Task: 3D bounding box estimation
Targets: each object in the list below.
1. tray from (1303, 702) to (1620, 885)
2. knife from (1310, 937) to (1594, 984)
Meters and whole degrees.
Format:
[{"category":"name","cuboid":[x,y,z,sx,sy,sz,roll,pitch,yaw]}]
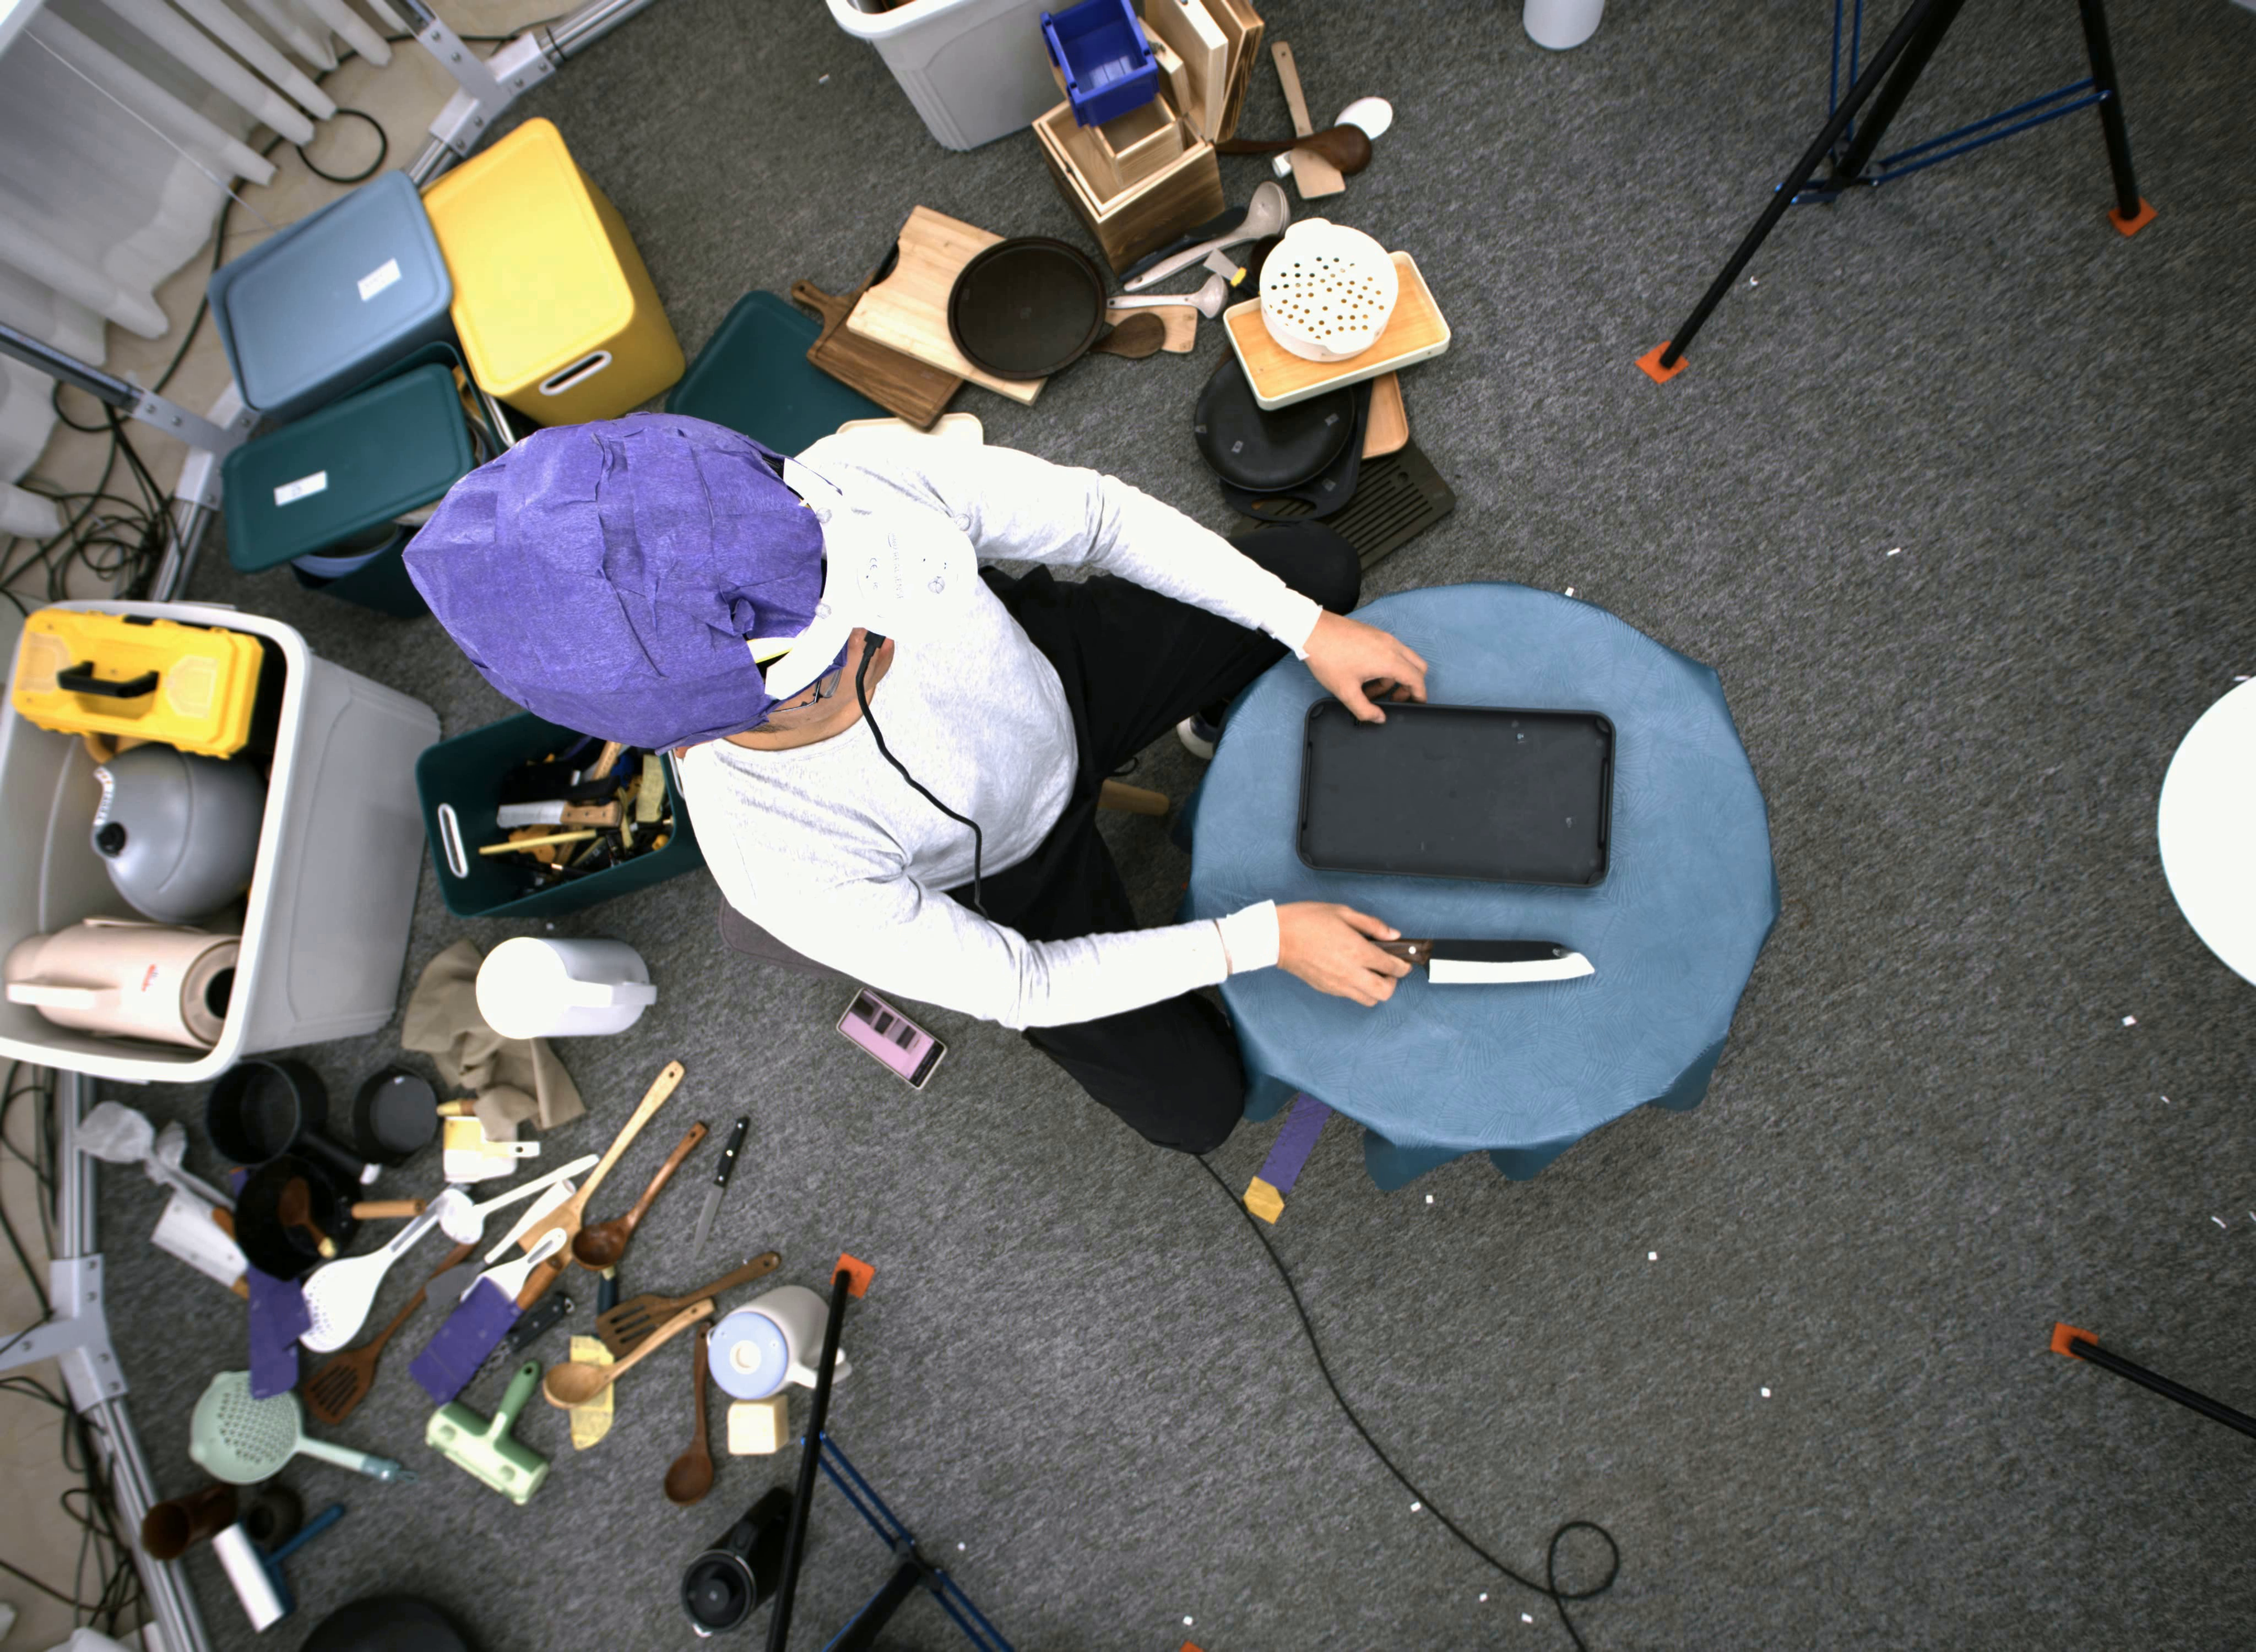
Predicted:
[{"category":"tray","cuboid":[0.345,-0.036,1.434,0.319,0.037,0.183,2,87,11]},{"category":"knife","cuboid":[0.331,0.135,1.411,0.290,0.020,0.050,2,88,6]}]
